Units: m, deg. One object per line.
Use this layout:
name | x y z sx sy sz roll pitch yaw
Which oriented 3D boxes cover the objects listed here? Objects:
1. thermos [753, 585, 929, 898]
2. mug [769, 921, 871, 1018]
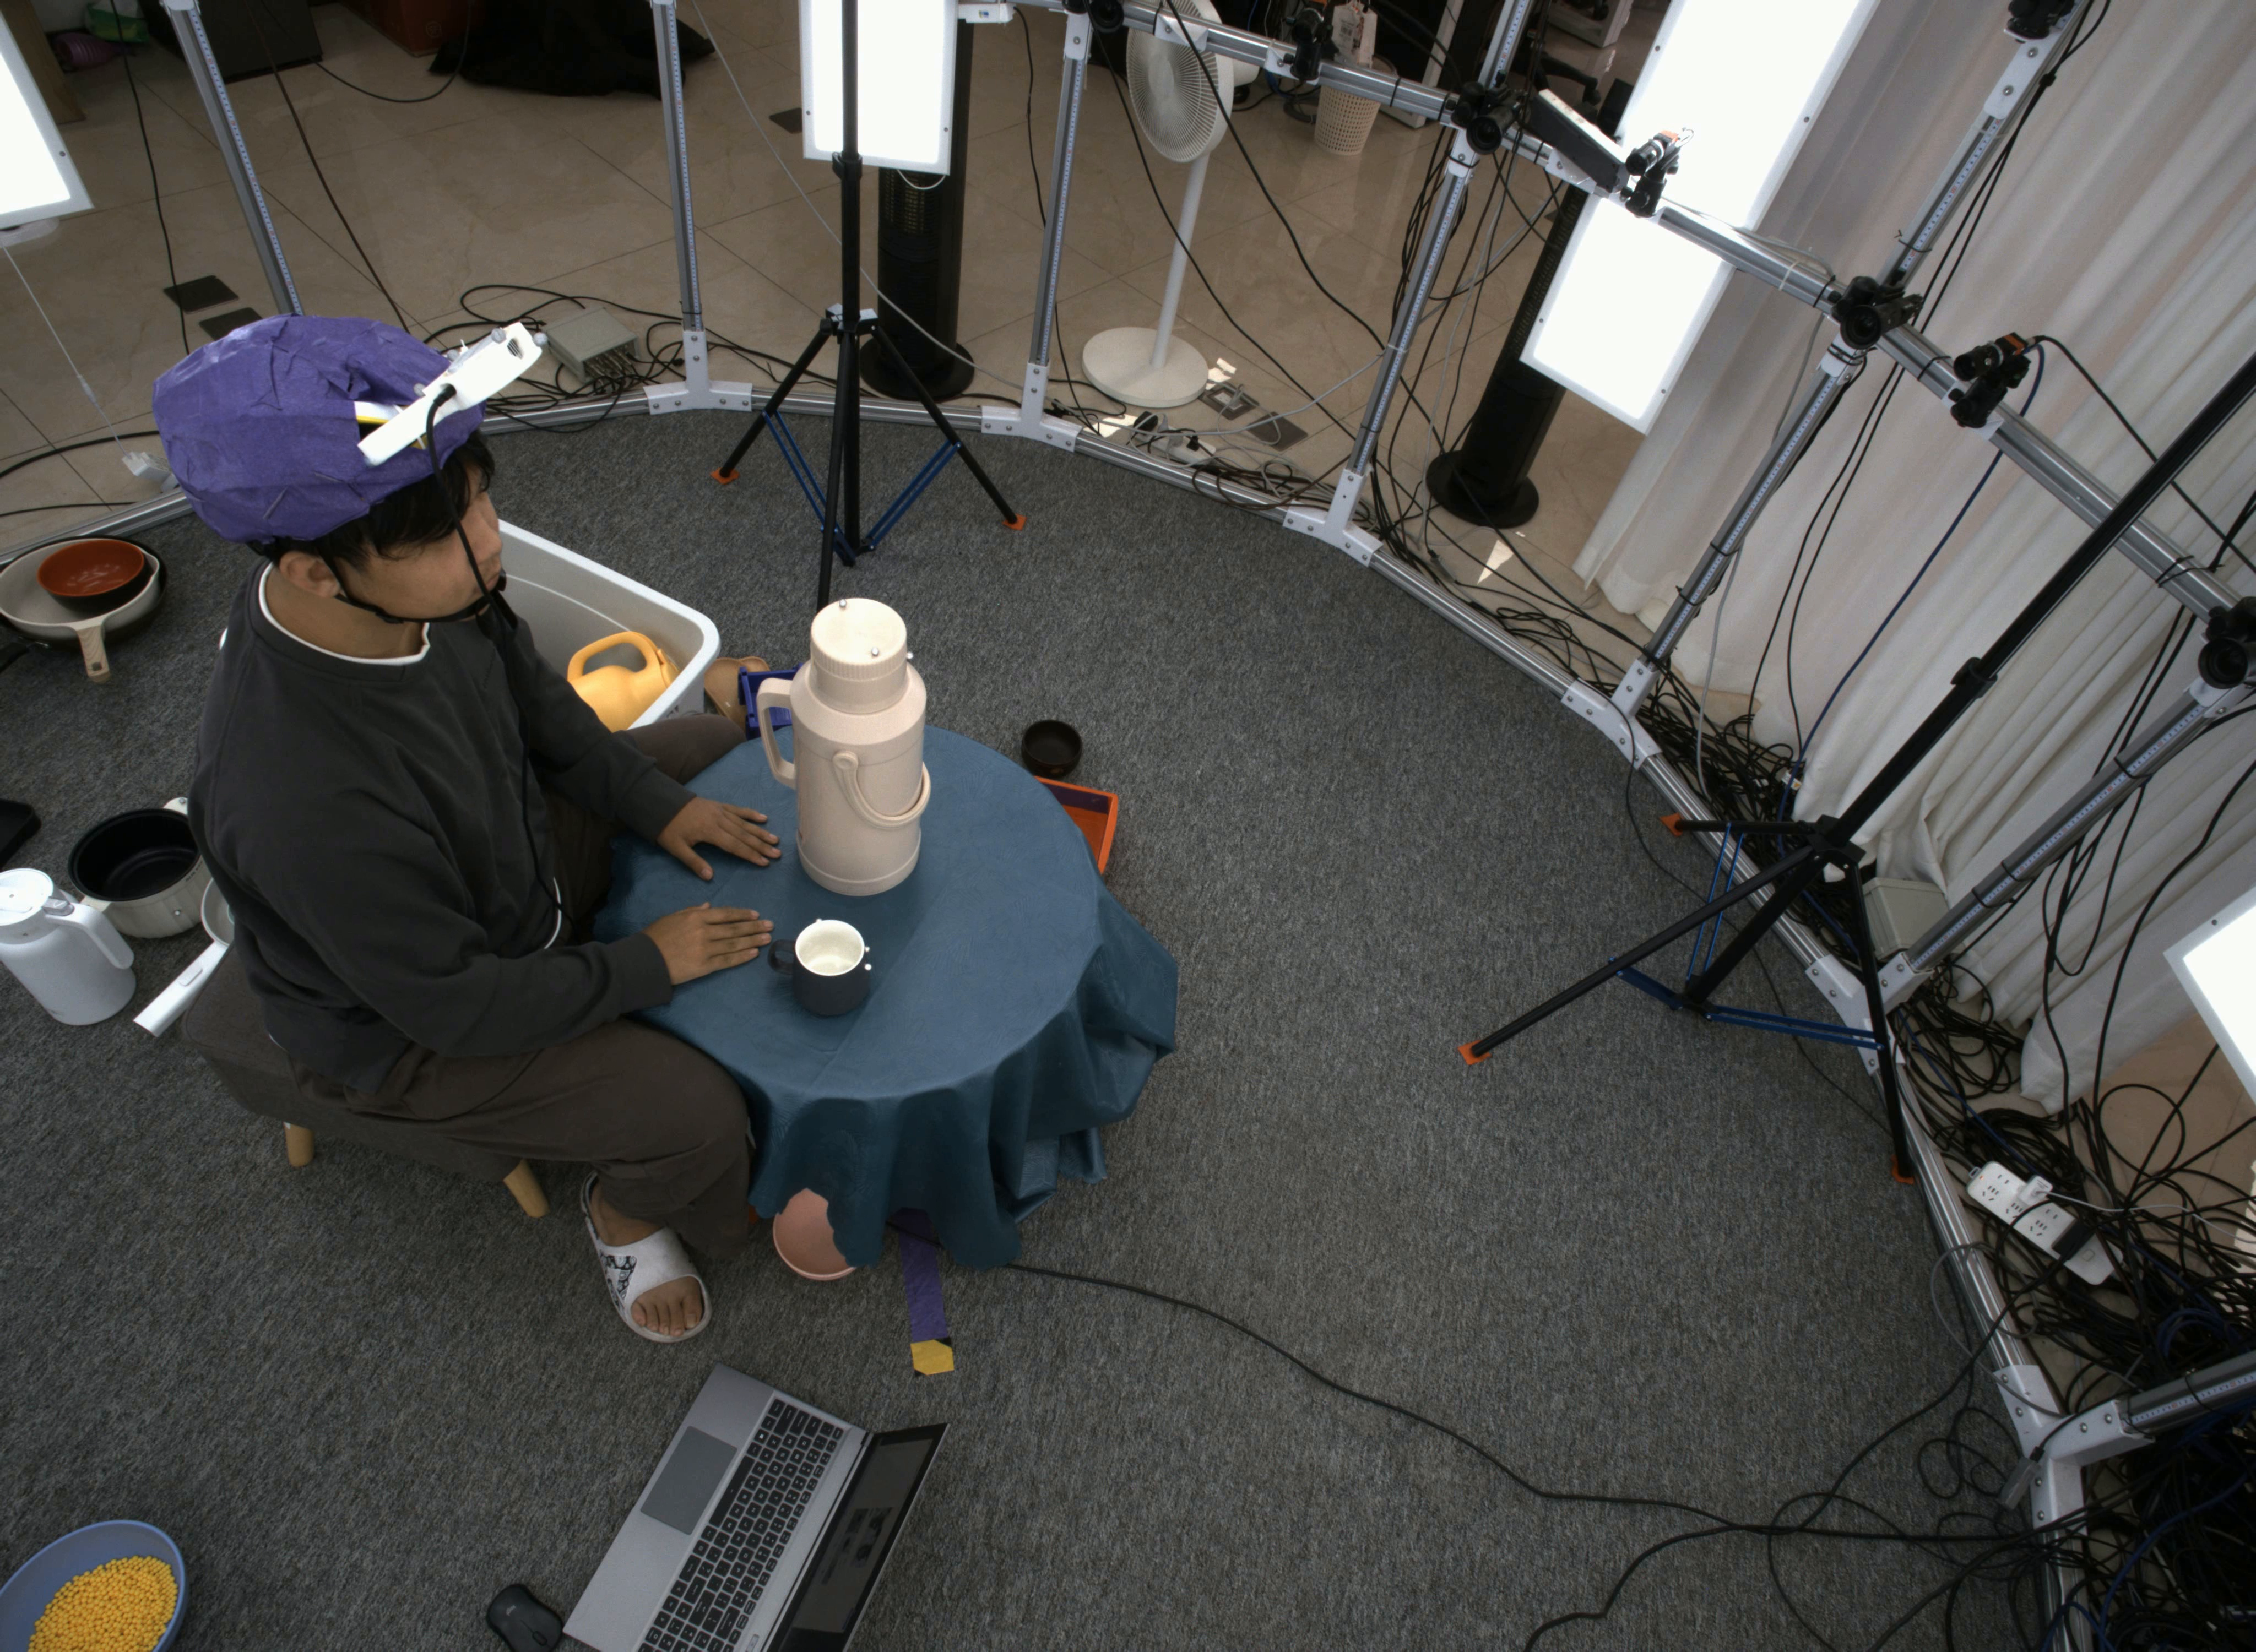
thermos | -0.340 -0.099 1.559 0.206 0.415 0.172 7 51 -6
mug | -0.369 0.165 1.552 0.122 0.092 0.092 14 51 -2
